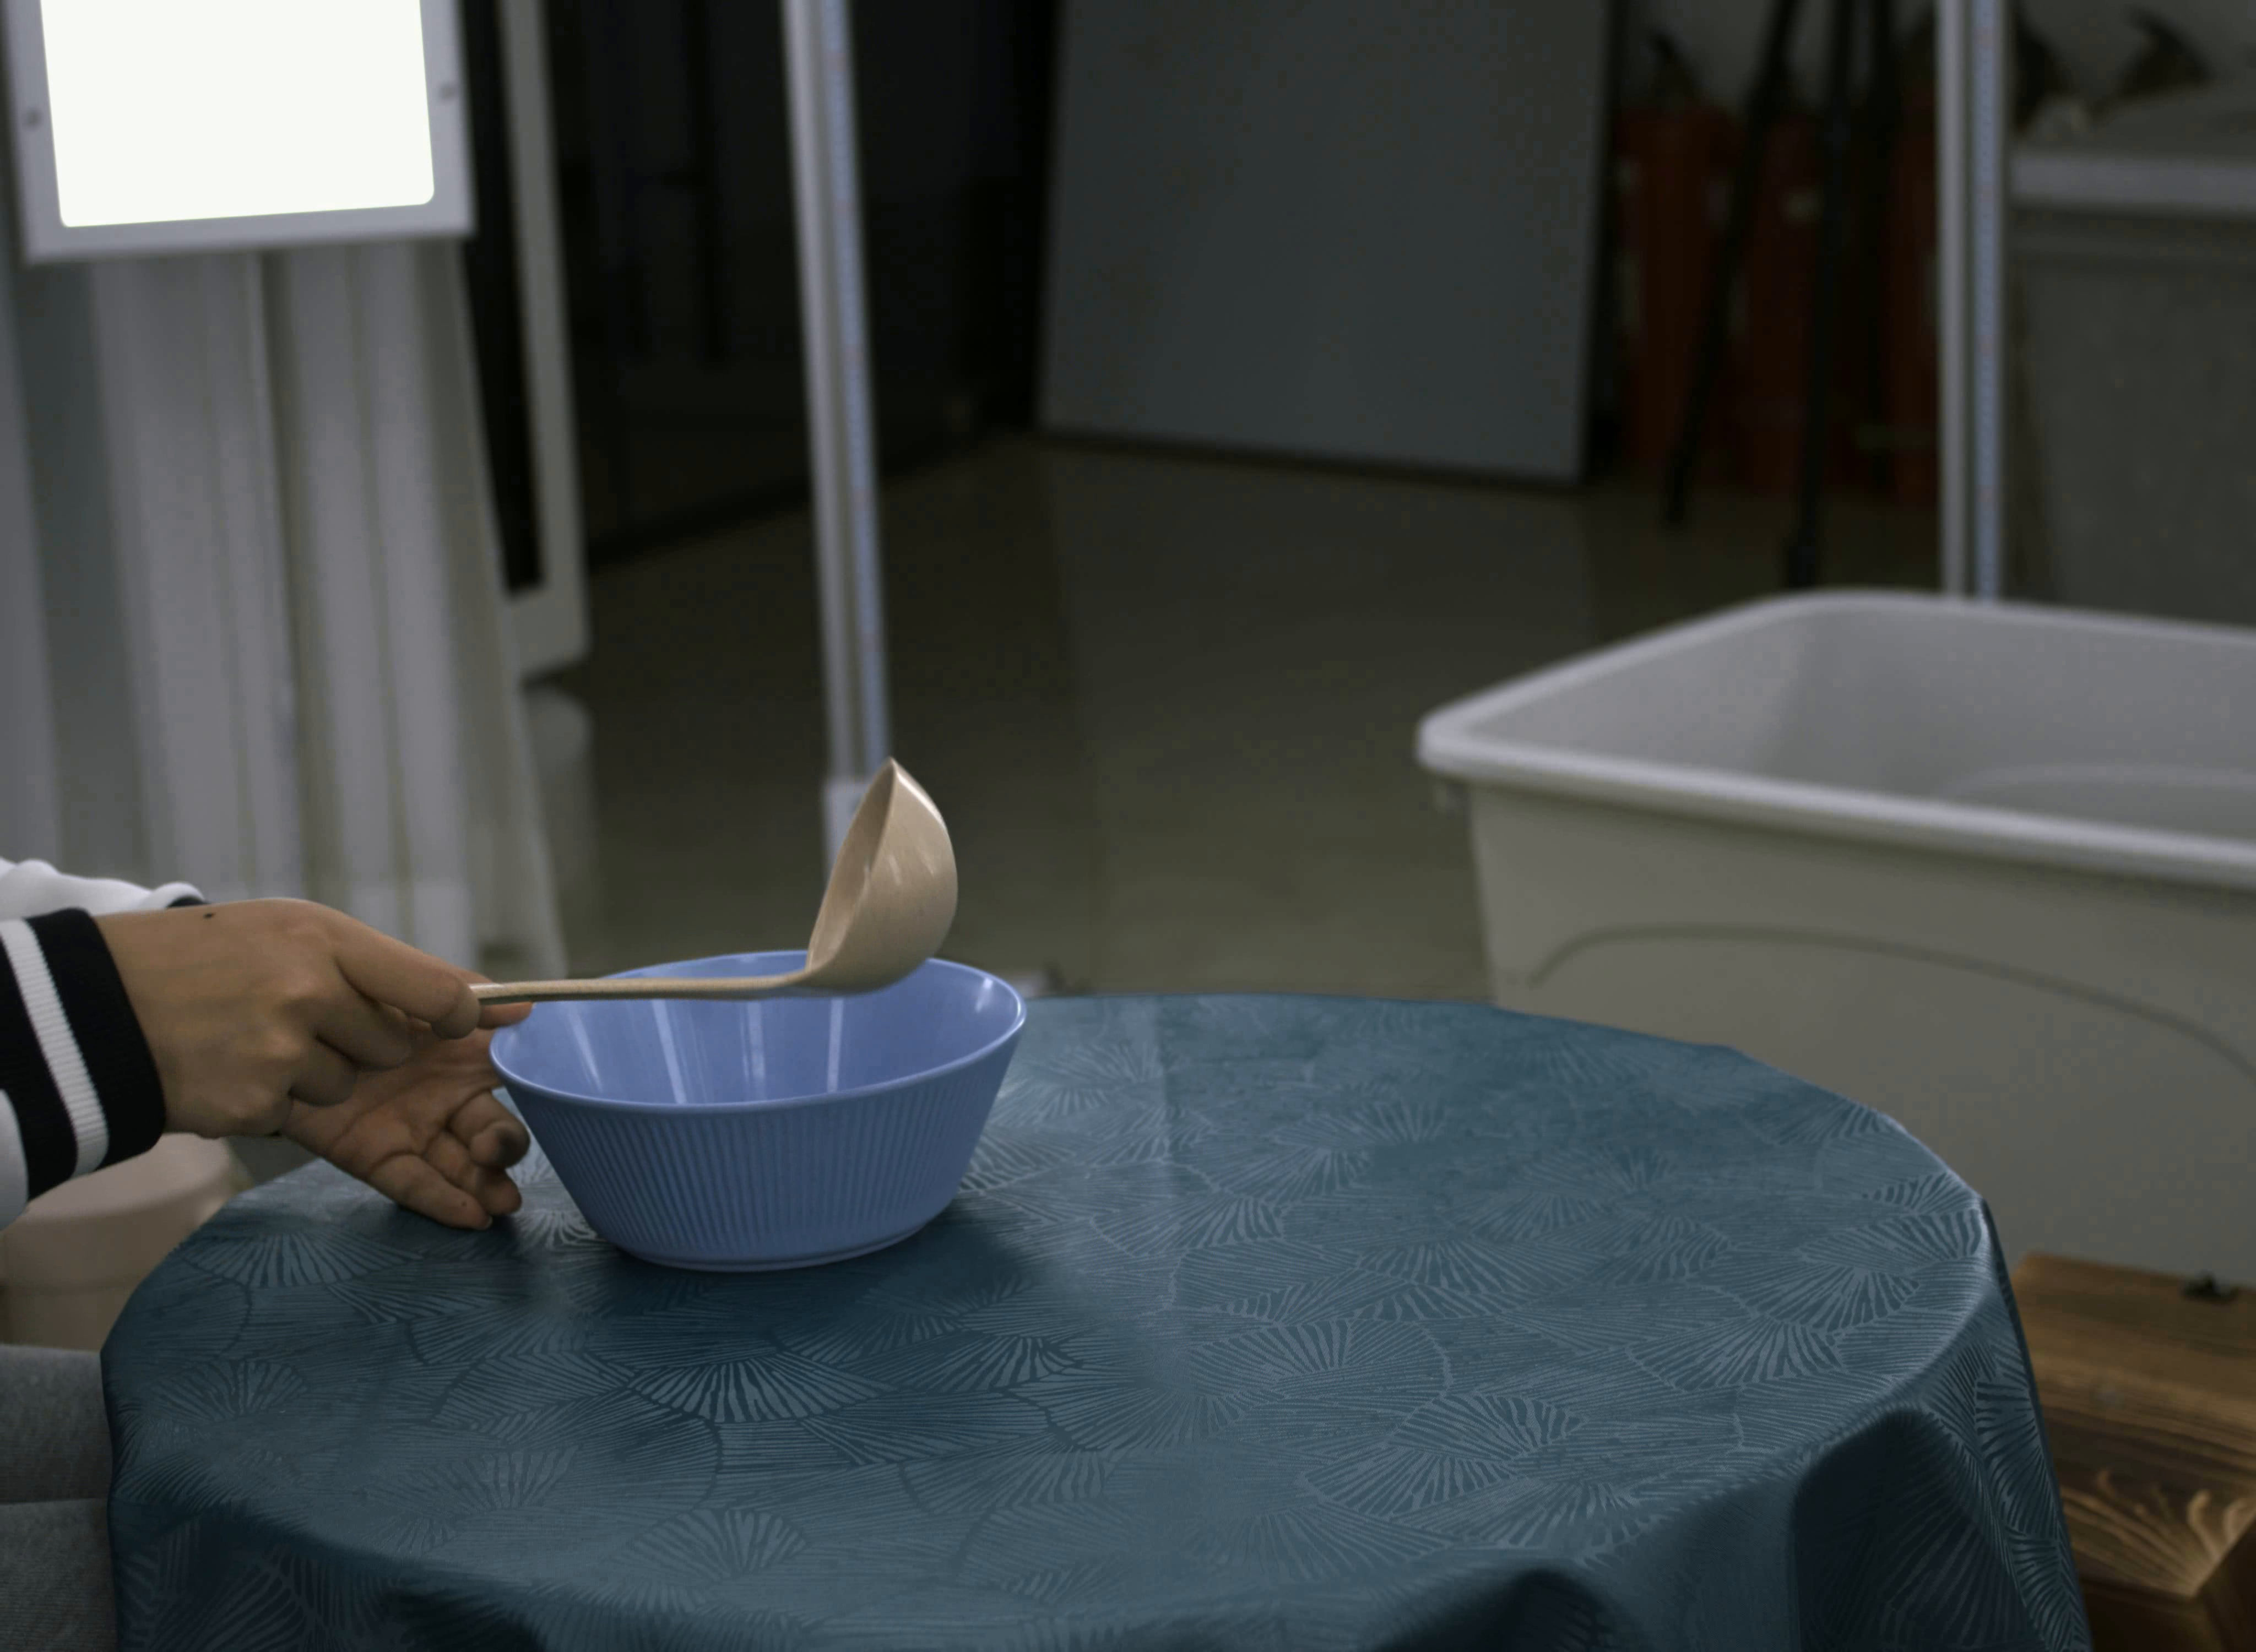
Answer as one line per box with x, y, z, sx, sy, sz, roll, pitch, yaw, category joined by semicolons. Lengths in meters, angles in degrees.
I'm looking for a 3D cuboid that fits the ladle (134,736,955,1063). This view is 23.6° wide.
-0.175;0.021;1.612;0.249;0.074;0.072;-6;-15;-19;ladle

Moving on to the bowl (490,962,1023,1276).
-0.118;0.097;1.756;0.174;0.071;0.176;-4;12;0;bowl
